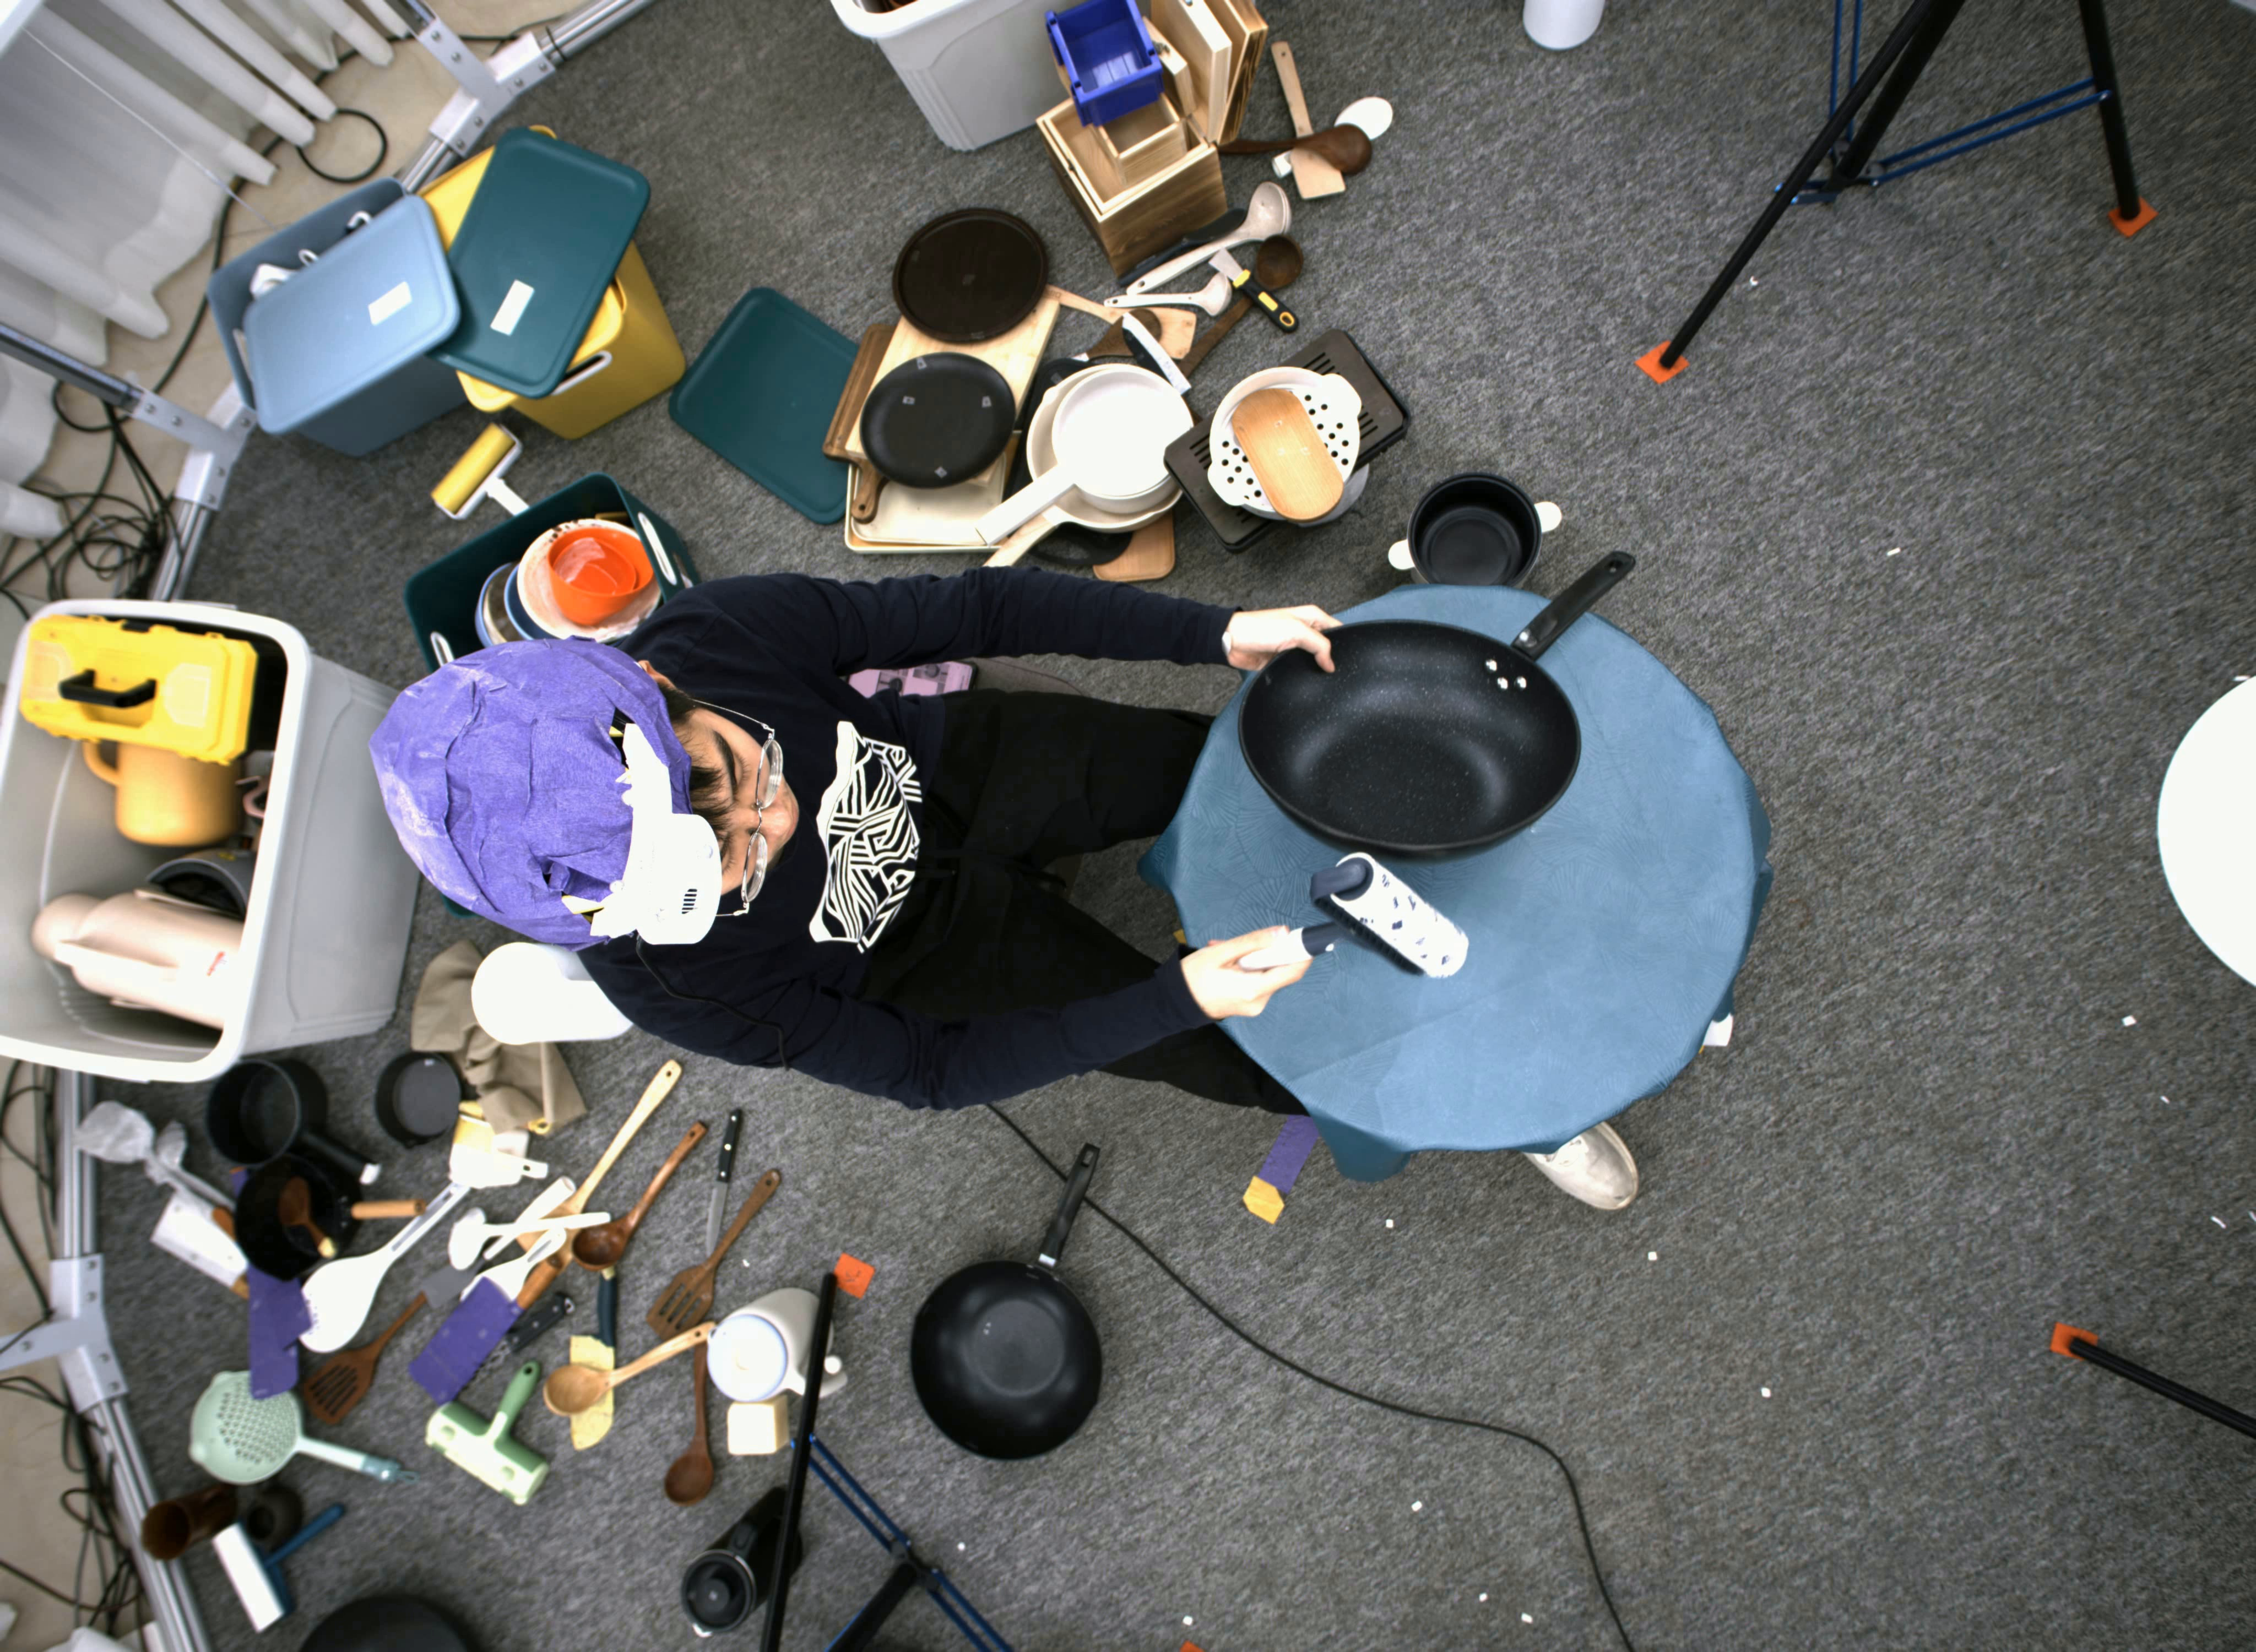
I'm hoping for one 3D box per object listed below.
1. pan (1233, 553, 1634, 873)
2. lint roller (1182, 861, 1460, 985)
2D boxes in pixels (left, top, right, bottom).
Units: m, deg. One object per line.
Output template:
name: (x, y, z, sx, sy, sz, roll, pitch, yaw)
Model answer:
pan: (0.315, -0.114, 1.298, 0.470, 0.114, 0.307, -34, 54, -22)
lint roller: (0.151, 0.112, 1.241, 0.251, 0.178, 0.049, -21, 51, 35)
